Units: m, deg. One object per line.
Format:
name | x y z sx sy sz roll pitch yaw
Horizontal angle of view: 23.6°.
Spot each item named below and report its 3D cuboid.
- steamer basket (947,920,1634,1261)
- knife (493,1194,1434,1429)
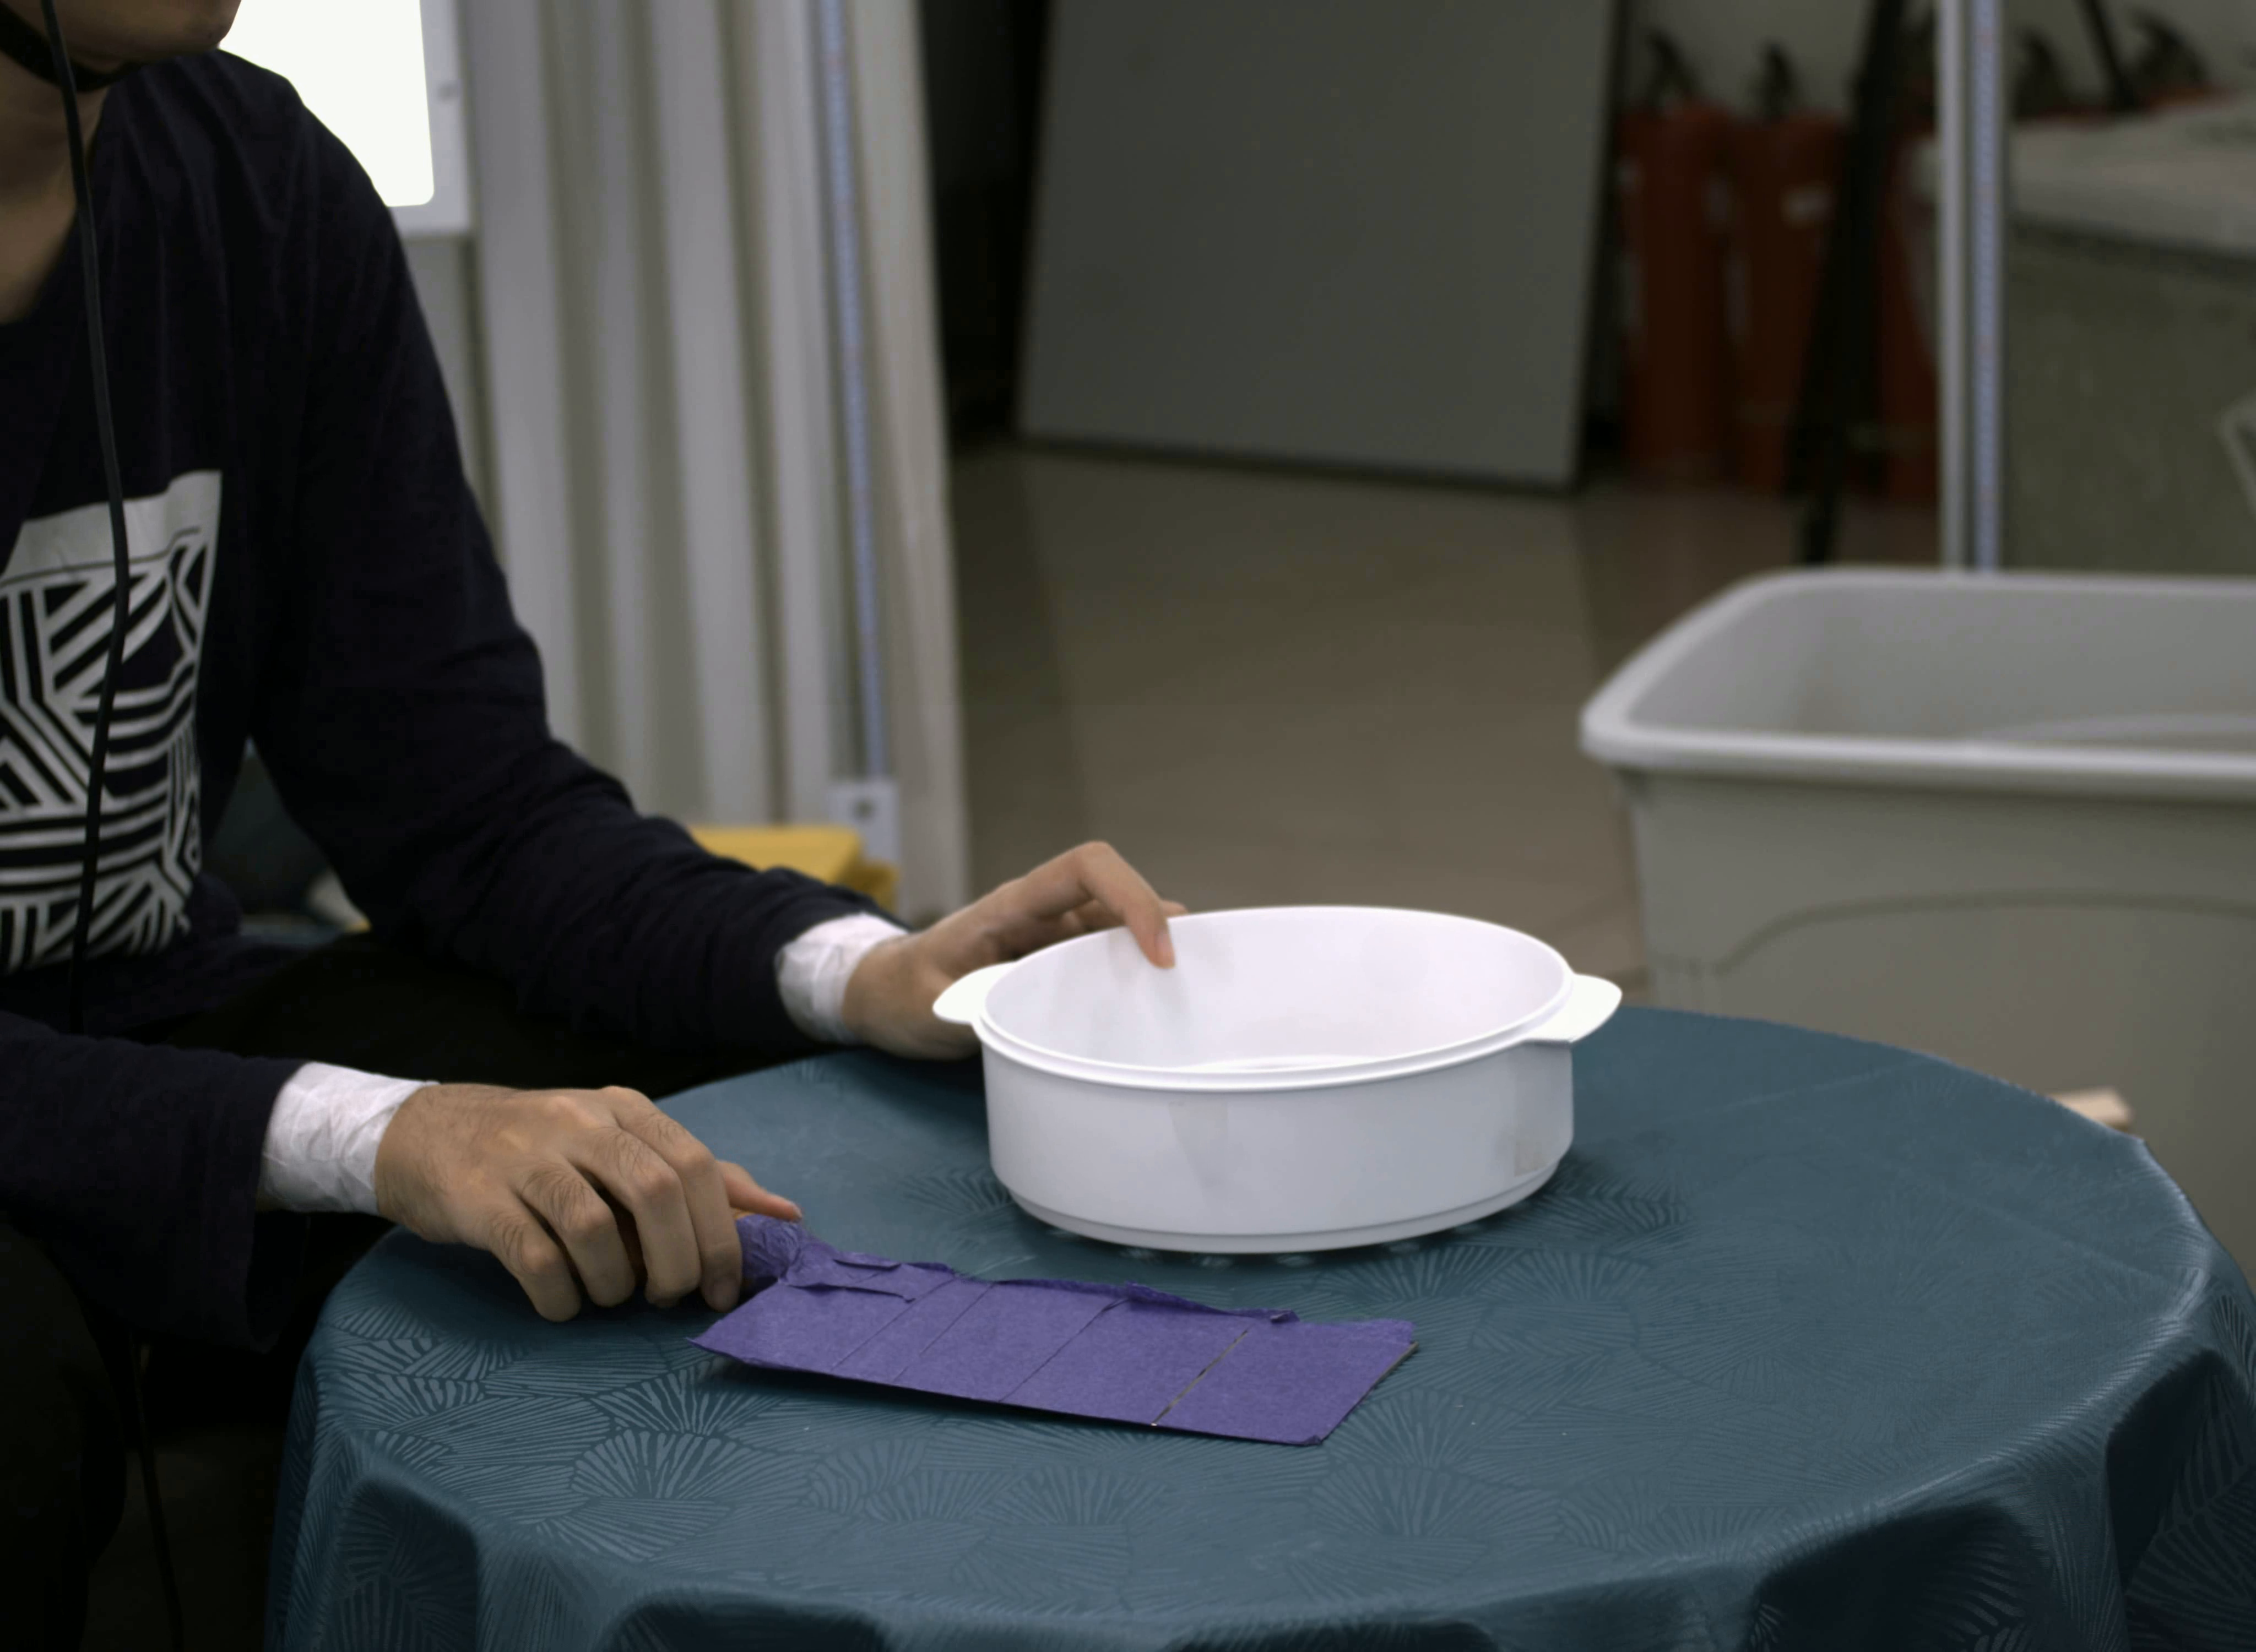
steamer basket | 0.055 0.086 1.767 0.230 0.070 0.200 -3 12 19
knife | -0.067 0.146 1.634 0.316 0.032 0.102 3 15 25
